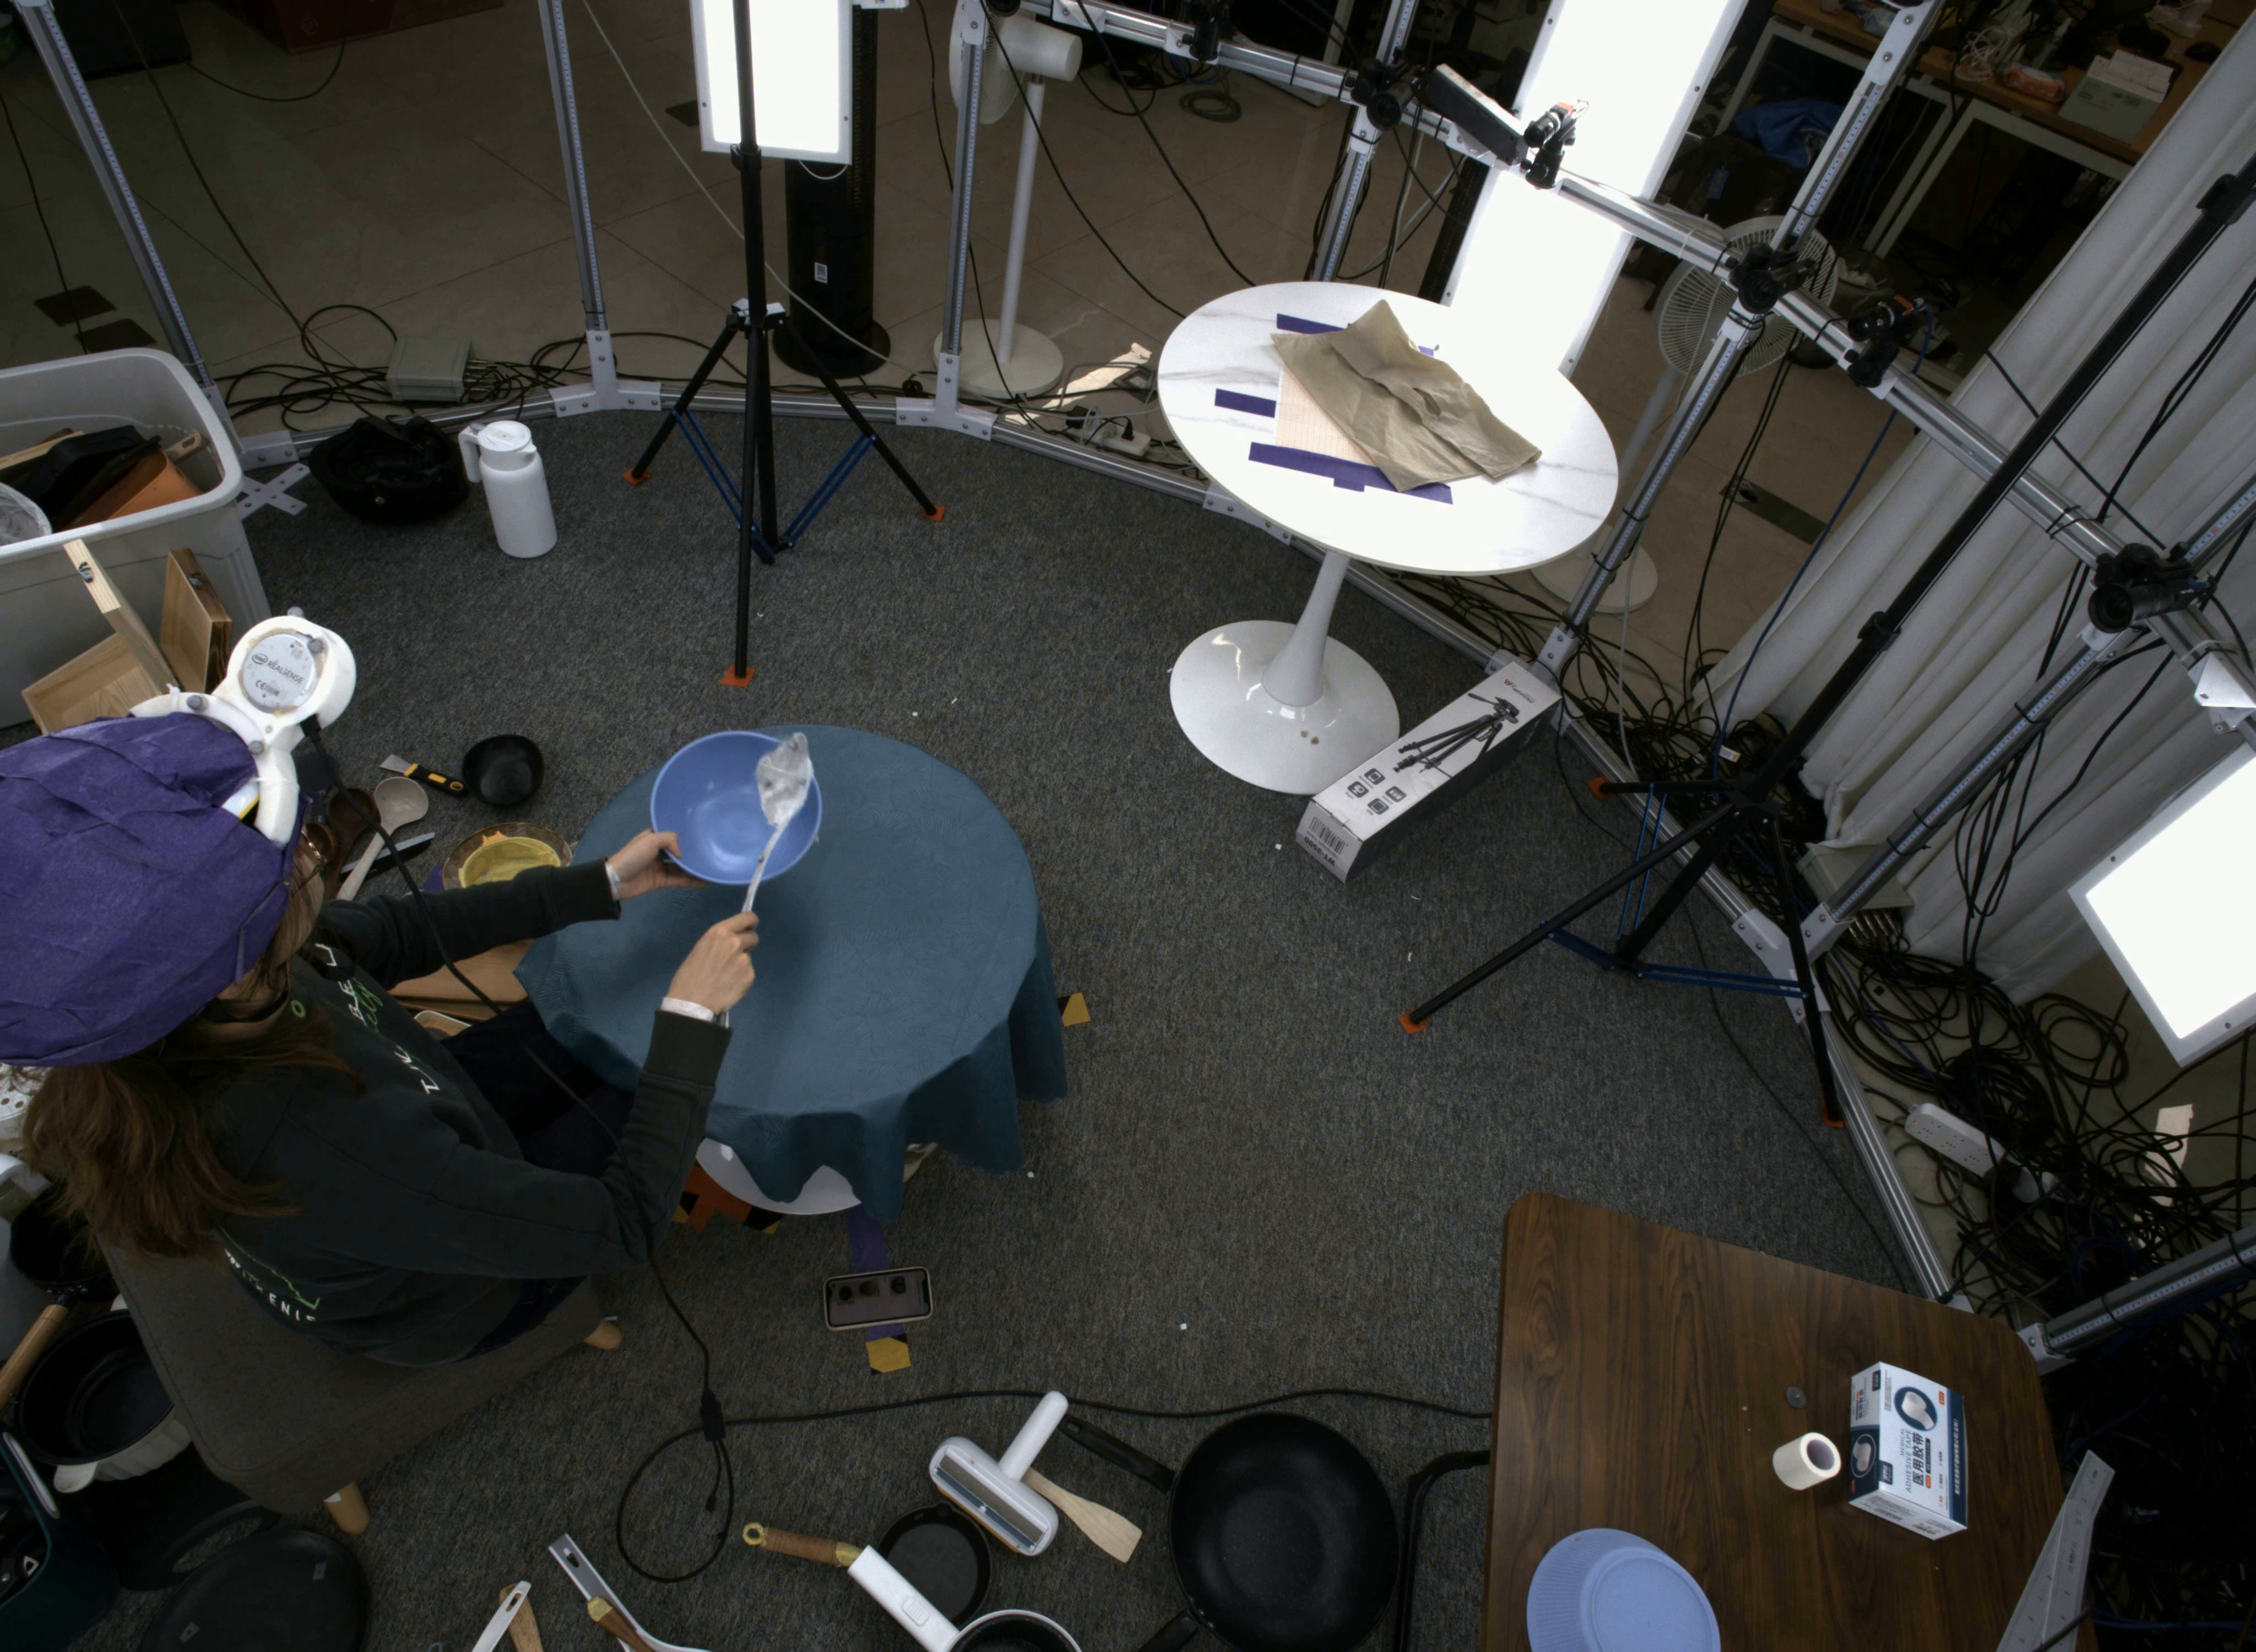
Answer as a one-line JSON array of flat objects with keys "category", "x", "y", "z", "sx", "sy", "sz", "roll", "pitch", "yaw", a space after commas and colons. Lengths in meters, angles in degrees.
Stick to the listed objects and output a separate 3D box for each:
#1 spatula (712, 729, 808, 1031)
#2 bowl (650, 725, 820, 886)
[{"category": "spatula", "x": -0.406, "y": 0.049, "z": 1.396, "sx": 0.046, "sy": 0.097, "sz": 0.359, "roll": 38, "pitch": 42, "yaw": -33}, {"category": "bowl", "x": -0.474, "y": -0.013, "z": 1.561, "sx": 0.197, "sy": 0.095, "sz": 0.195, "roll": 7, "pitch": 68, "yaw": -15}]
